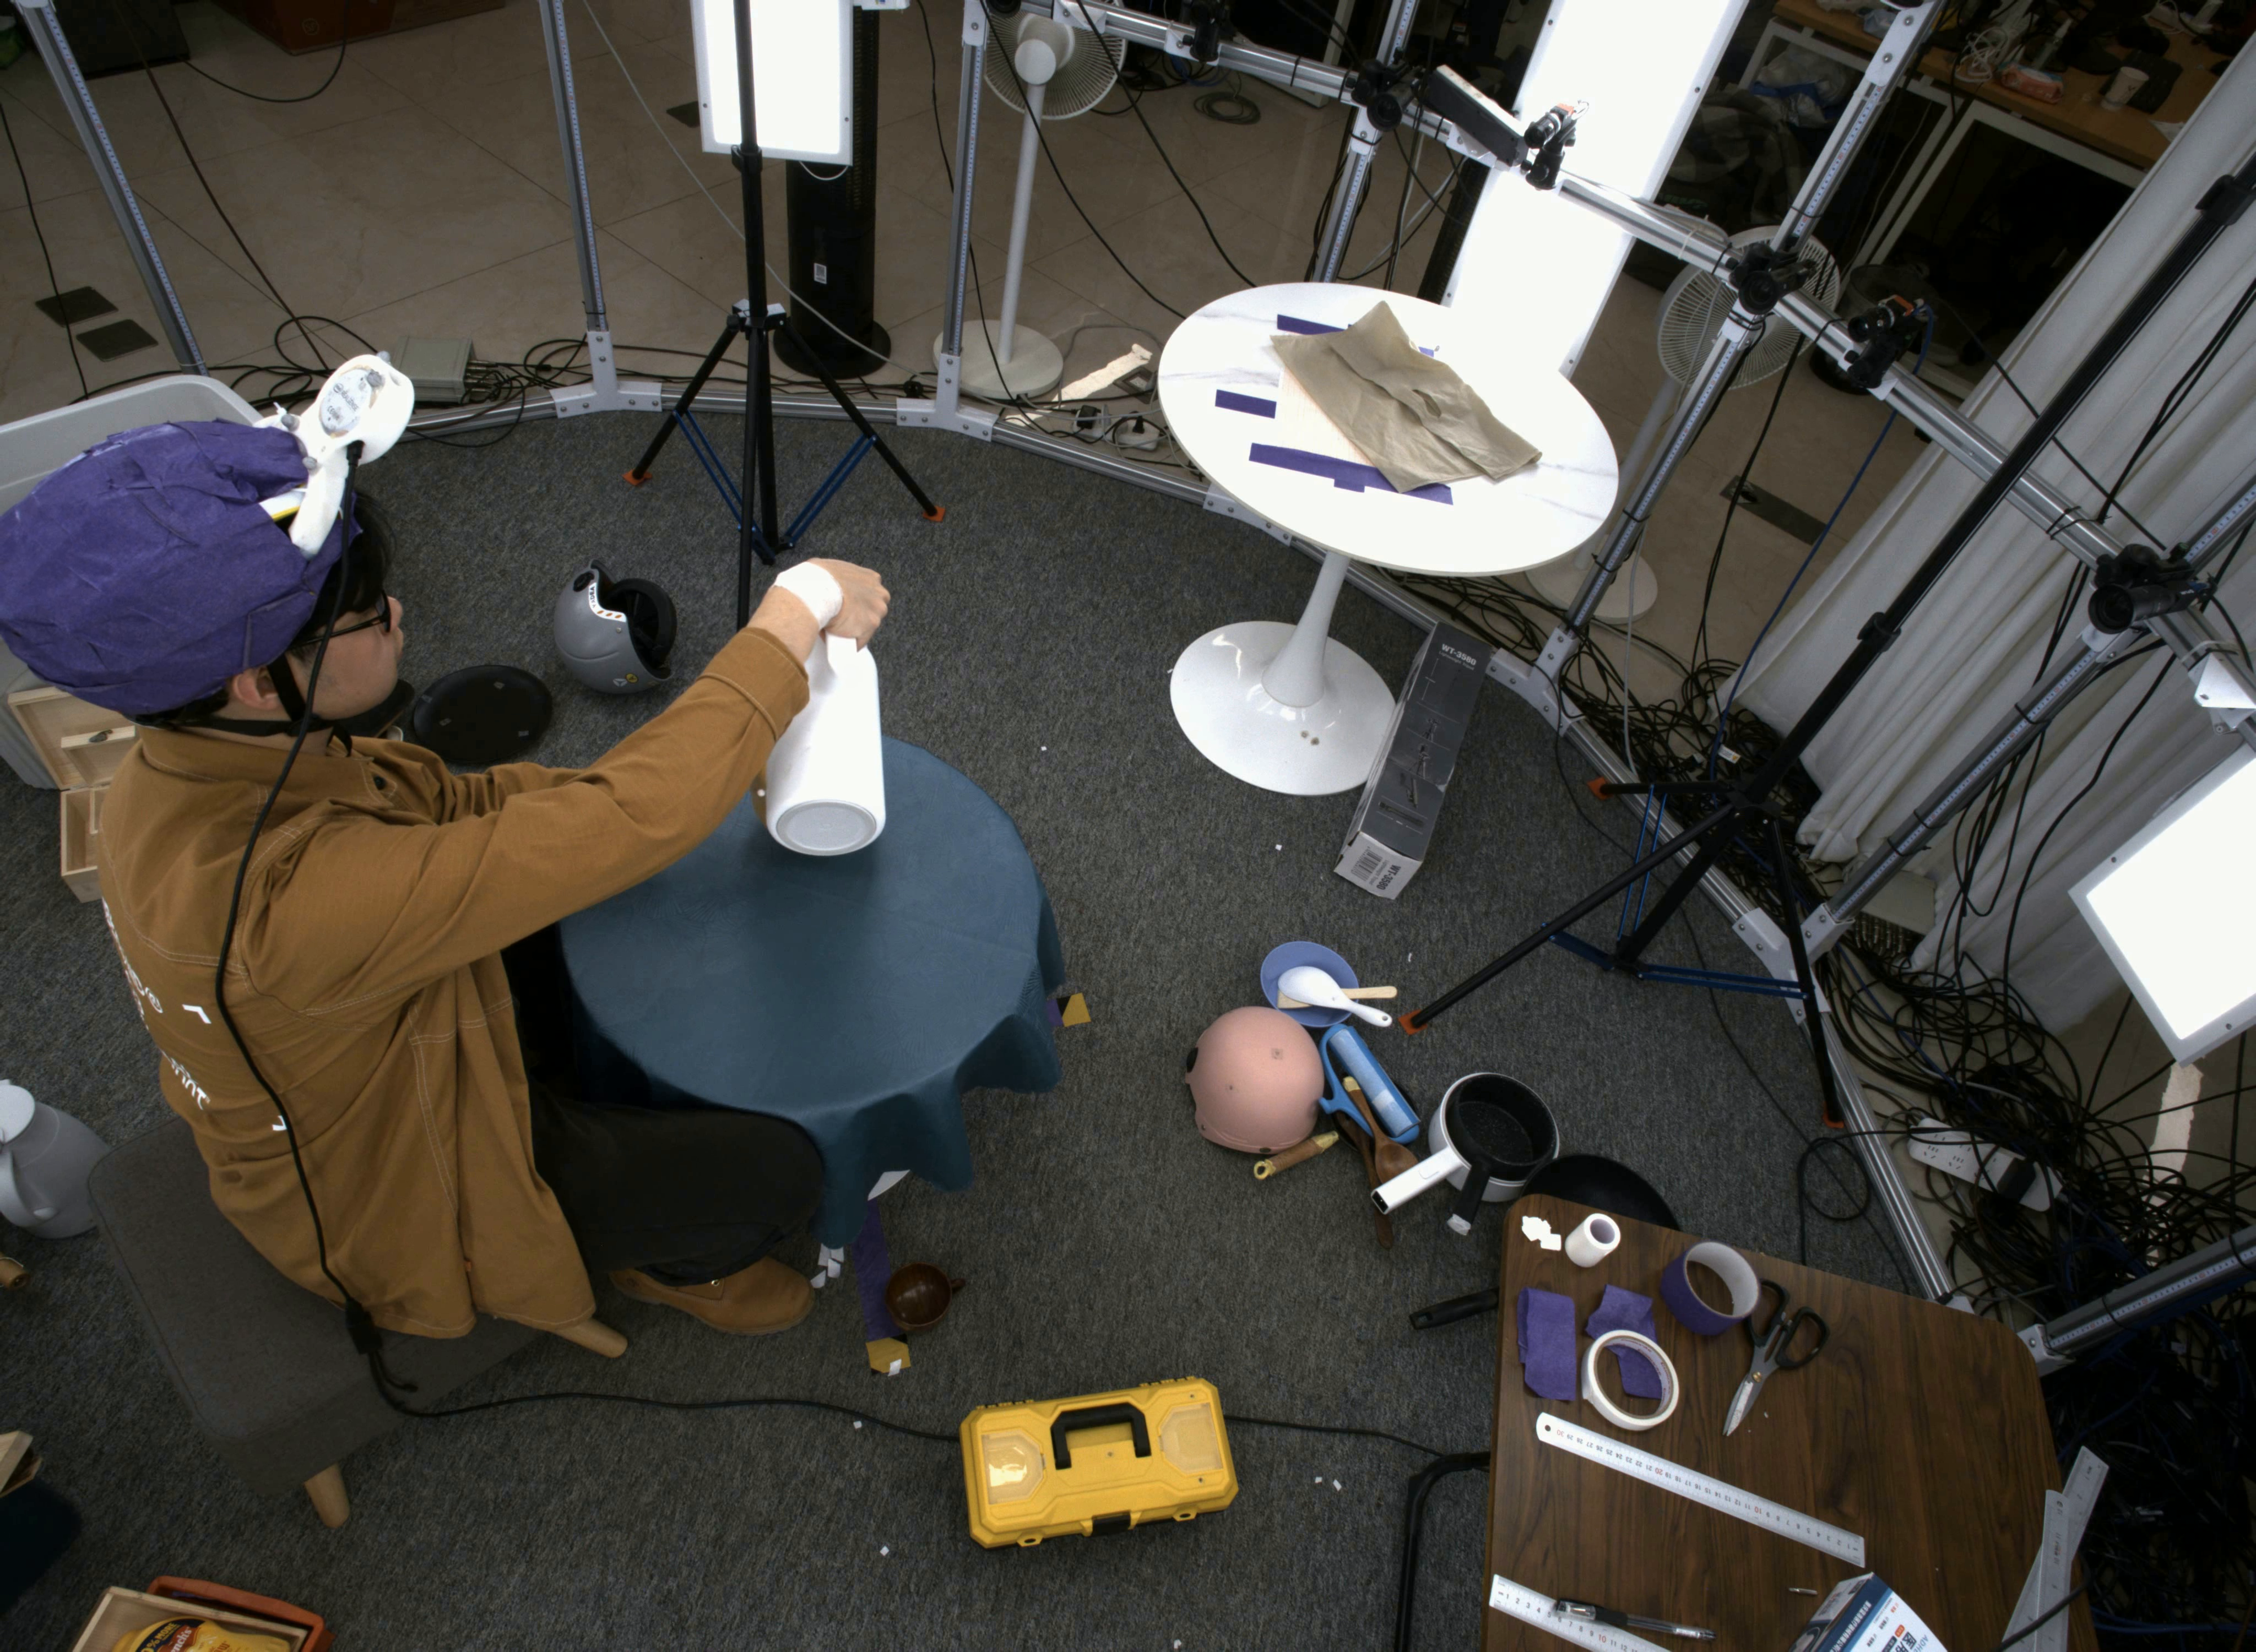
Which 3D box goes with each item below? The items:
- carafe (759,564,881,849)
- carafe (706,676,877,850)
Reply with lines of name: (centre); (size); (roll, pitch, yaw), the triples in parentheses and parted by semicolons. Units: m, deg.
carafe: (-0.312, -0.127, 1.321); (0.125, 0.174, 0.264); (7, 56, -23)
carafe: (-0.407, -0.097, 1.579); (0.203, 0.264, 0.160); (-1, 58, -15)
